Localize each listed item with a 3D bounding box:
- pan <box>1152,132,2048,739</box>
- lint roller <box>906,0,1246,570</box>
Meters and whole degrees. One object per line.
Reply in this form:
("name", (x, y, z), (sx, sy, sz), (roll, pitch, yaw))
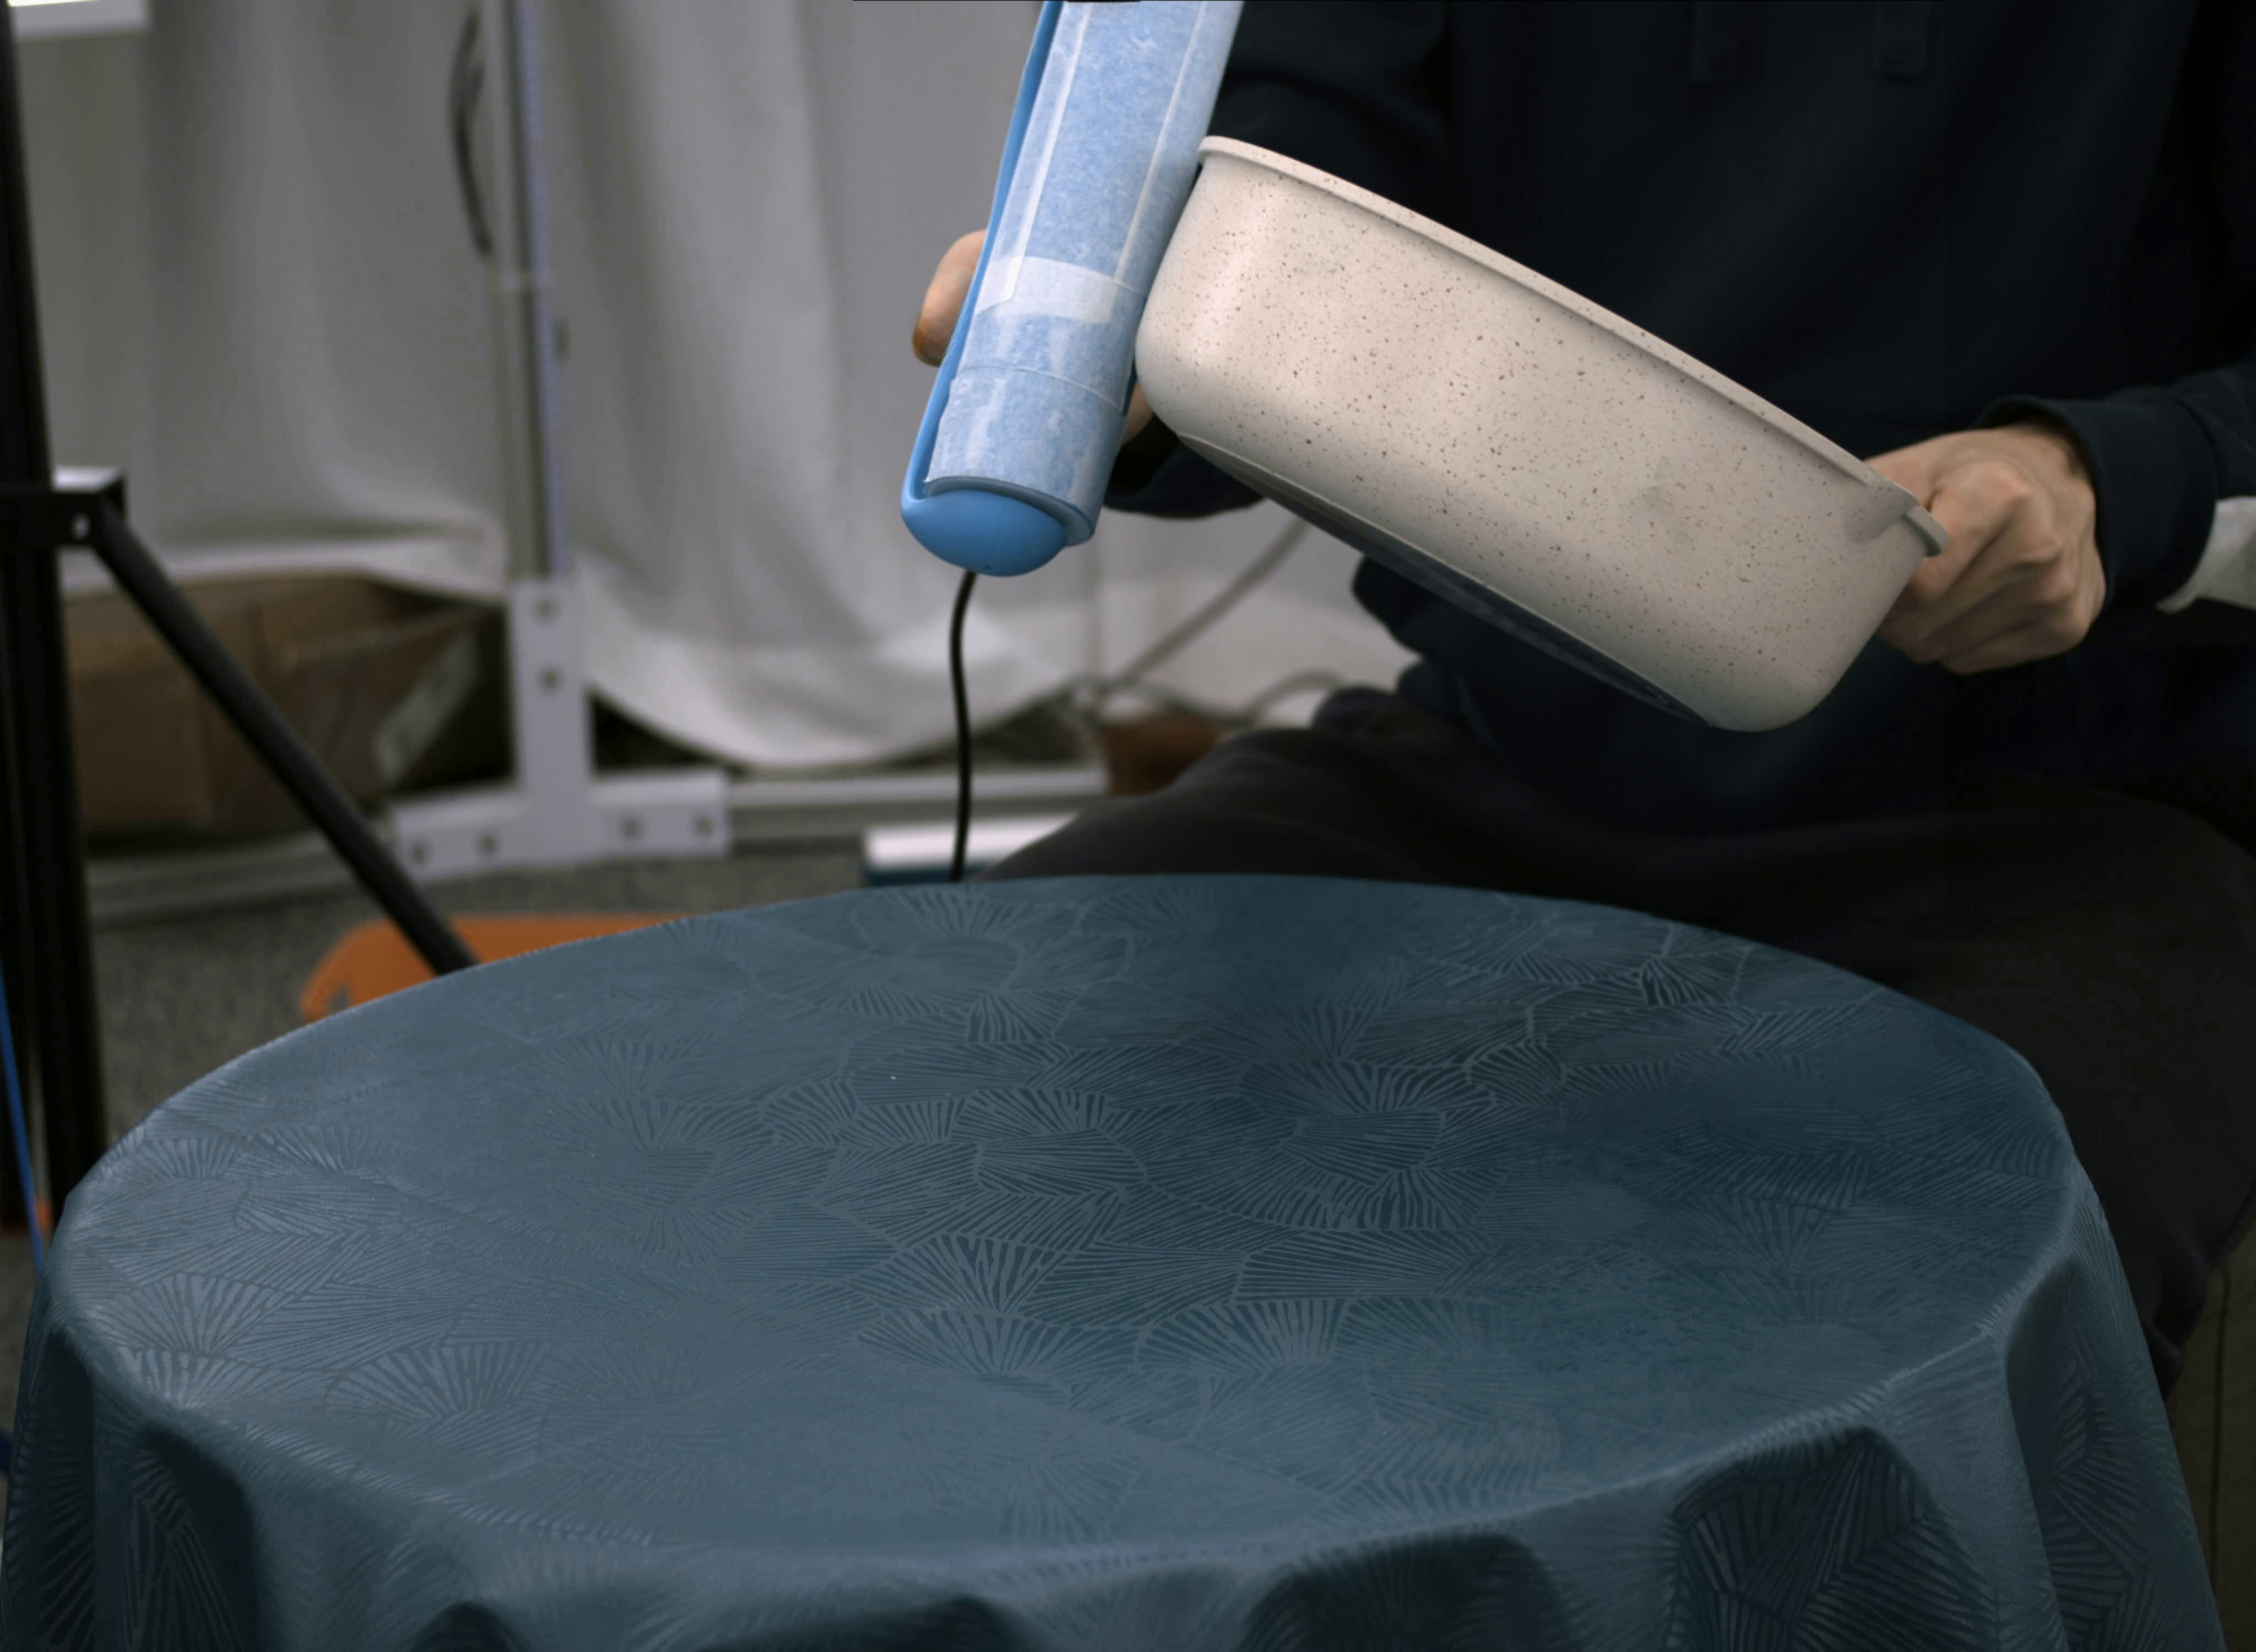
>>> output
("pan", (0.171, -0.087, 1.642), (0.269, 0.102, 0.424), (28, 0, 39))
("lint roller", (-0.016, -0.166, 1.673), (0.067, 0.230, 0.180), (15, -19, 0))
